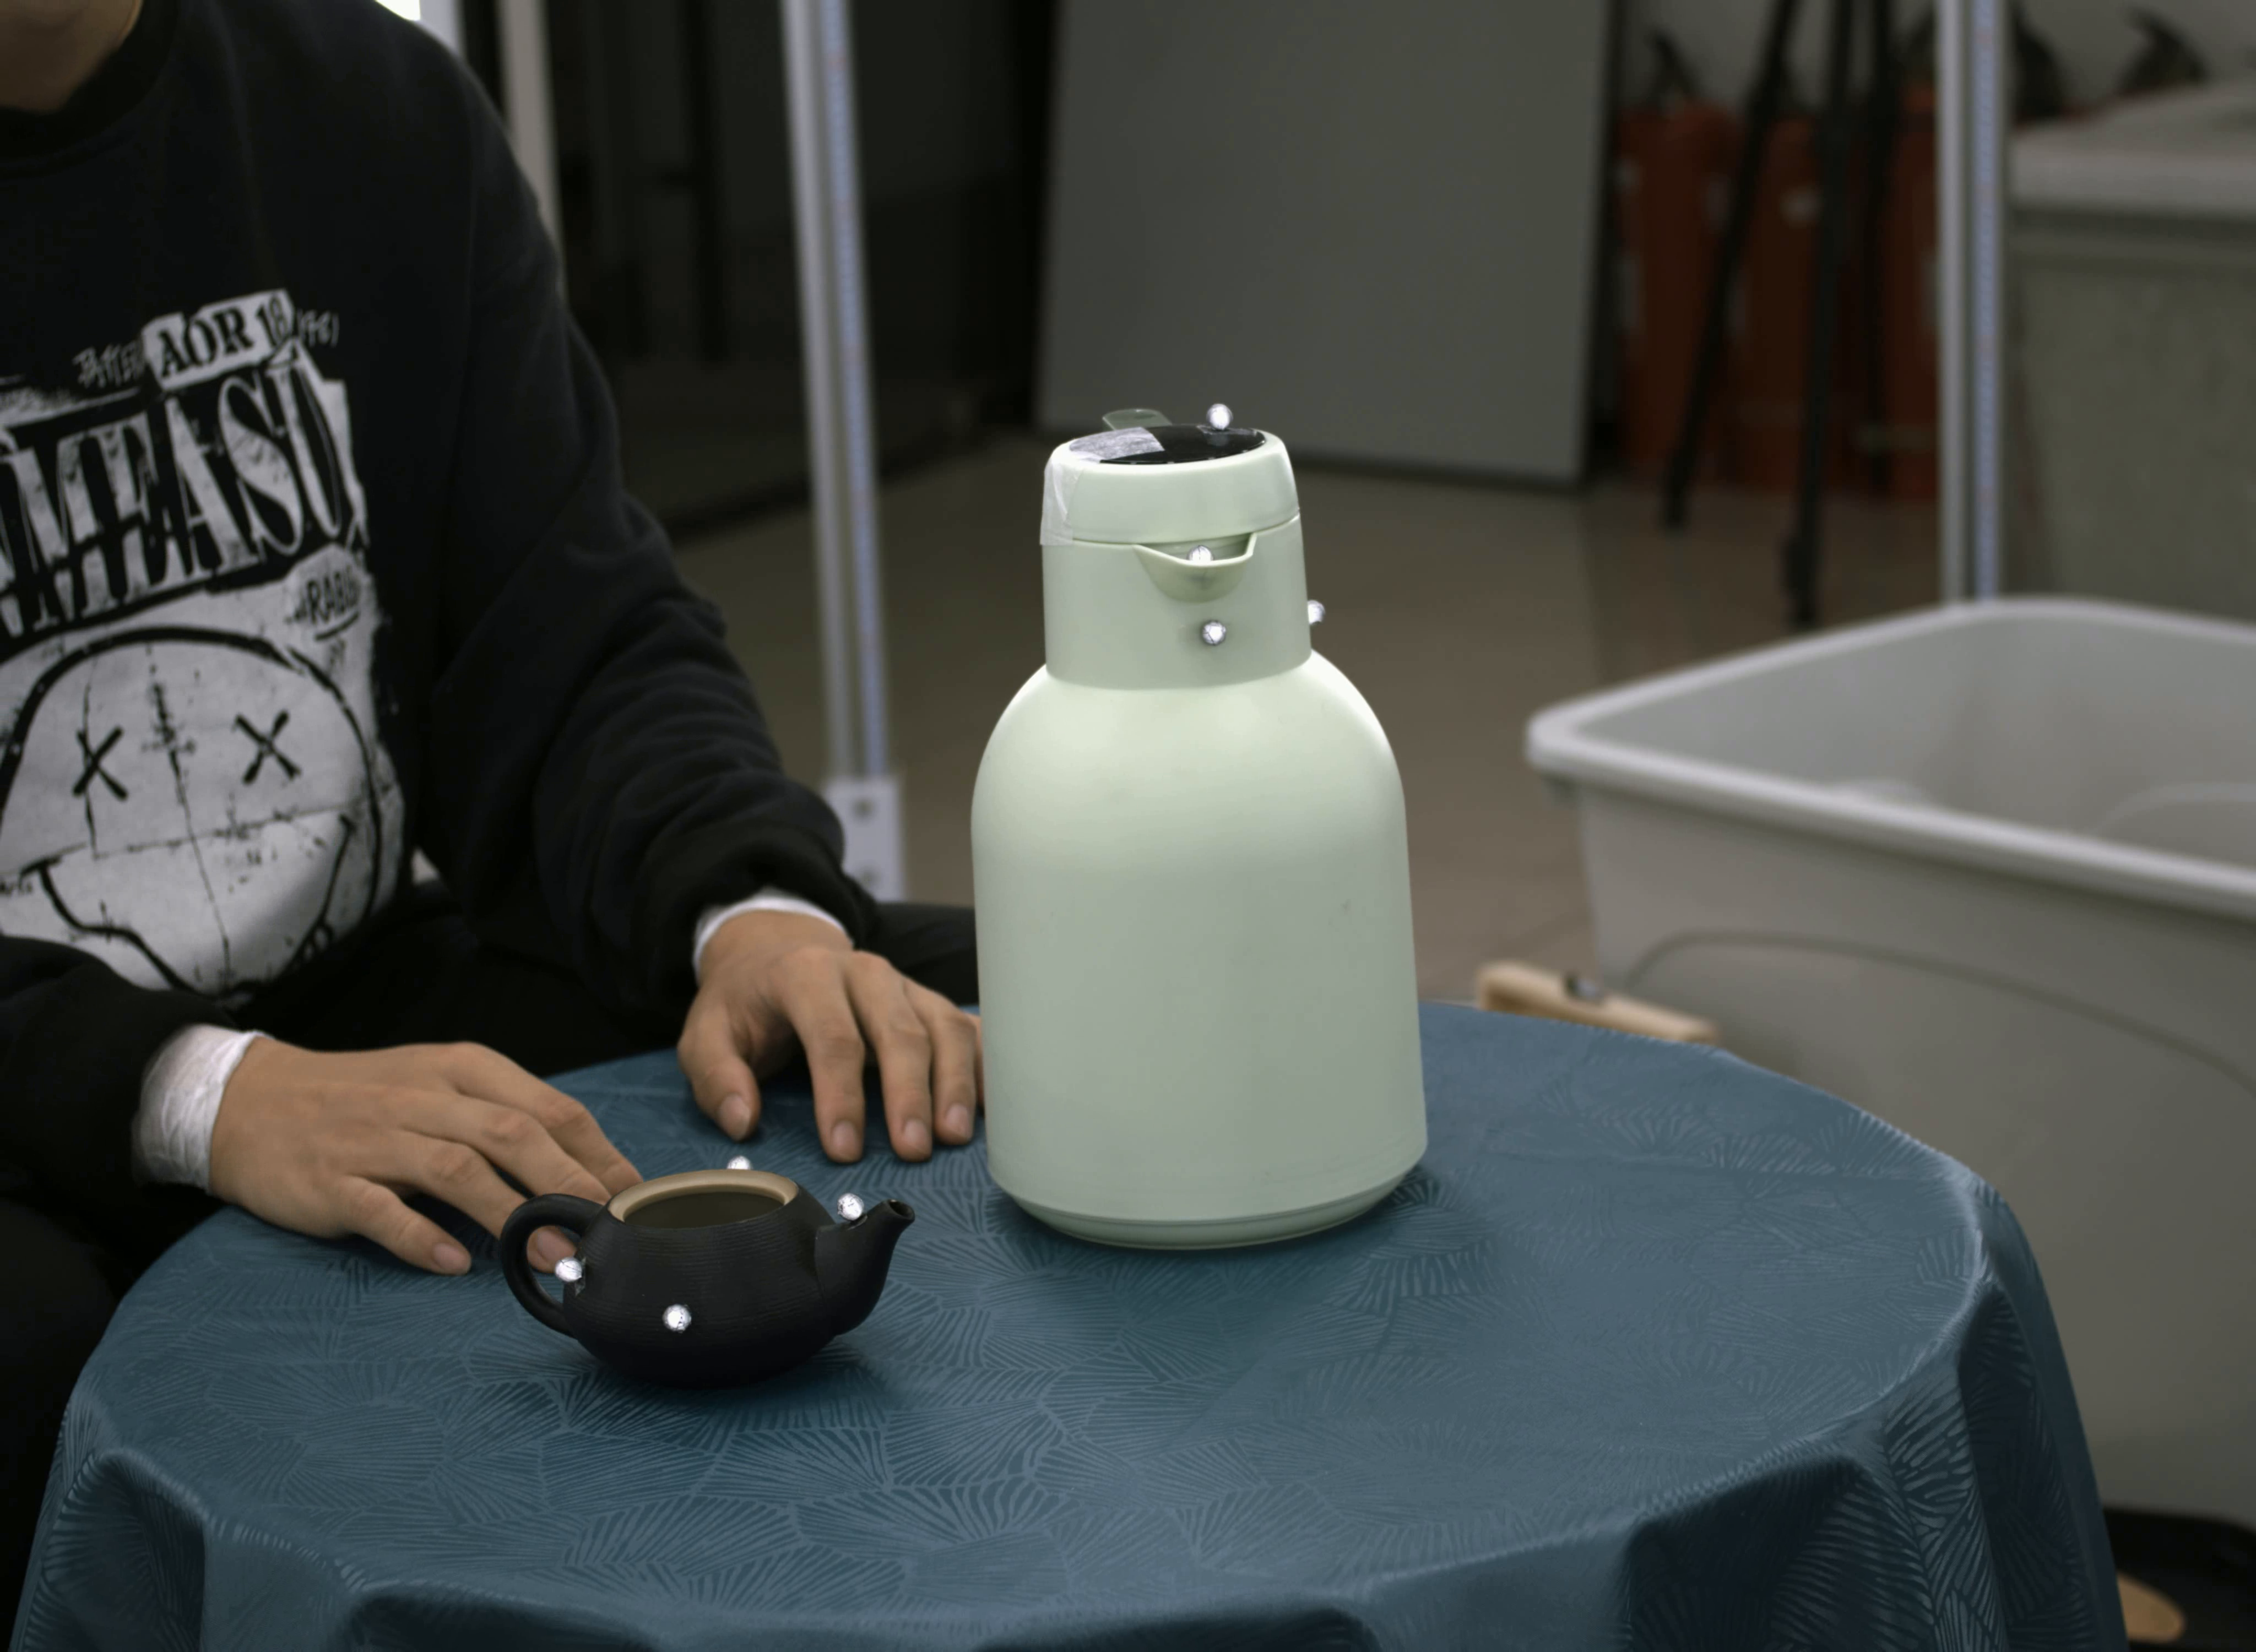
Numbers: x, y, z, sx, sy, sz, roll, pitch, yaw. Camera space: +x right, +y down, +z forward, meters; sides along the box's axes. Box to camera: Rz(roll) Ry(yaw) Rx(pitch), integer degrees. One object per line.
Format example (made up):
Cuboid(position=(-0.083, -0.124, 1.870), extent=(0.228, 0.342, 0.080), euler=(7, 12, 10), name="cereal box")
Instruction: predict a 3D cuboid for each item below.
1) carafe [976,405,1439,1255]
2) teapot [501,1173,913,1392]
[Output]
Cuboid(position=(0.017, -0.004, 1.752), extent=(0.142, 0.259, 0.188), euler=(-8, 10, -10), name="carafe")
Cuboid(position=(-0.126, 0.138, 1.634), extent=(0.132, 0.053, 0.090), euler=(0, 12, 16), name="teapot")
